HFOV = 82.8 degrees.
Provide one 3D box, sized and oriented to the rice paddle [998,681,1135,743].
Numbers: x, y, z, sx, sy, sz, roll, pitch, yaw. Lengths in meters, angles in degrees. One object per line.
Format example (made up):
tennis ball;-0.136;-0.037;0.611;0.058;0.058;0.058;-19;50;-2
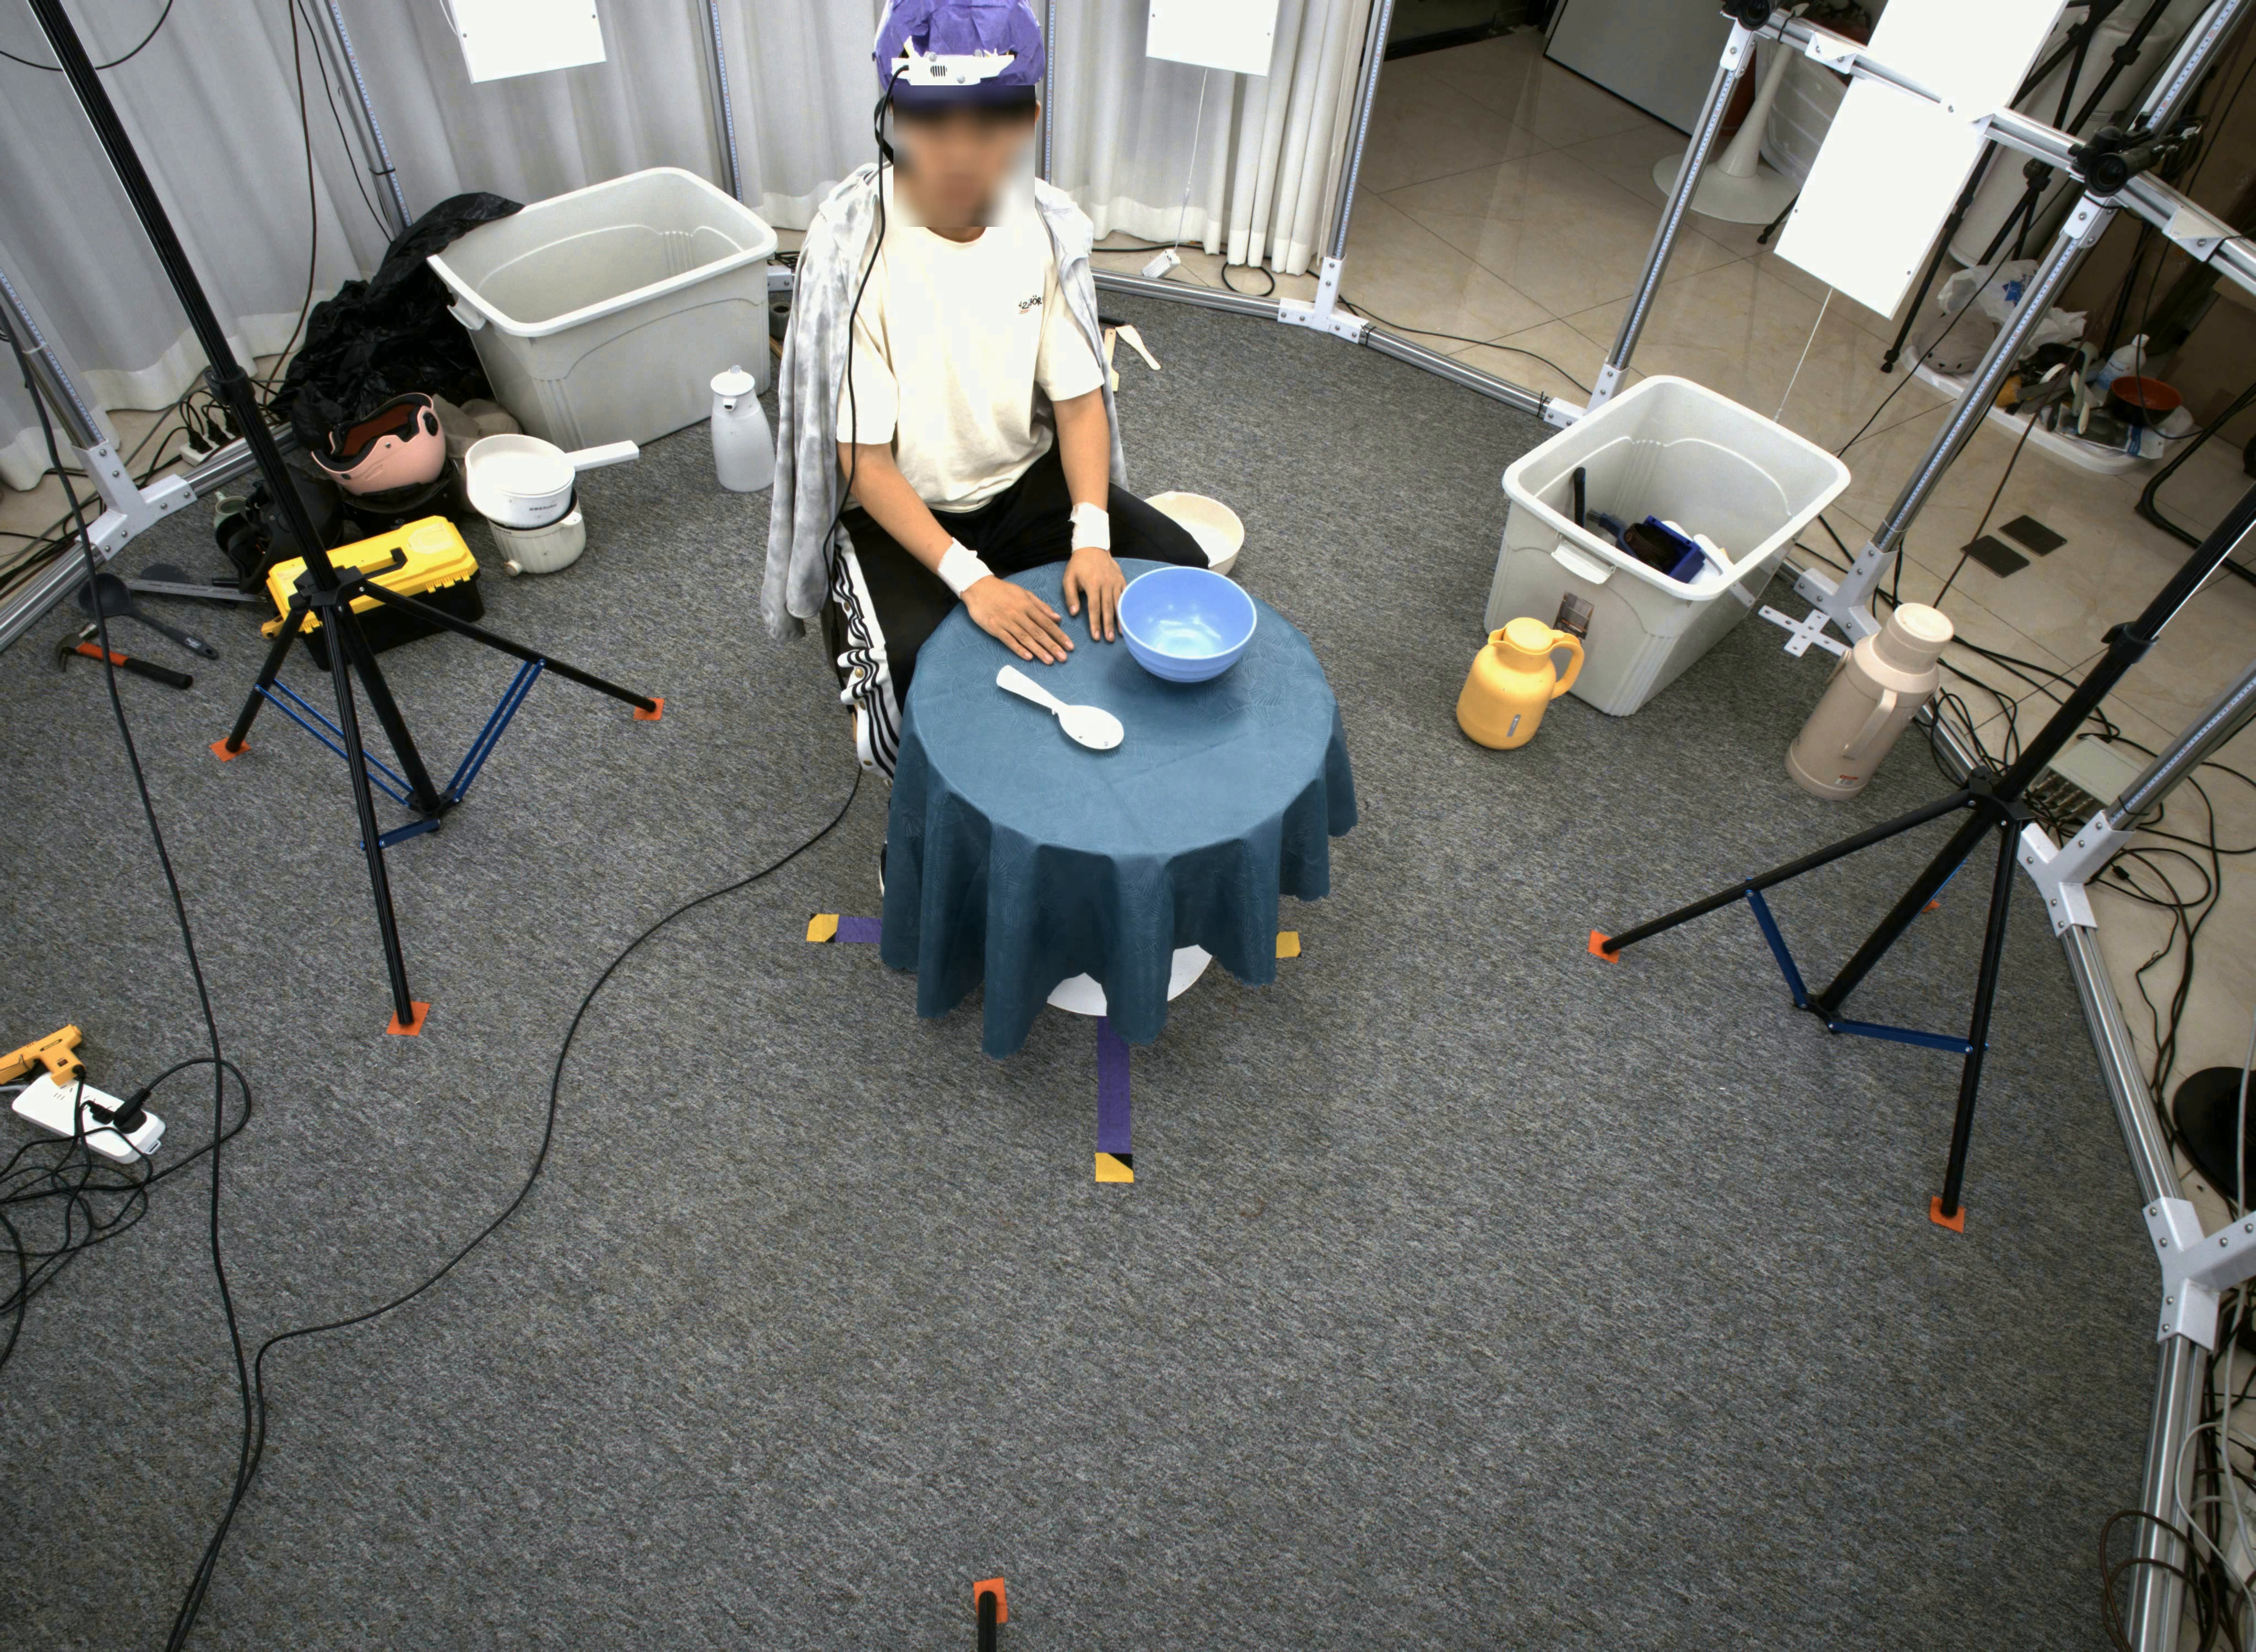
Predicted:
rice paddle;-0.084;-0.157;1.778;0.207;0.029;0.070;21;38;18

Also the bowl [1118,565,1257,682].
bowl;0.081;-0.275;1.843;0.196;0.093;0.201;2;50;-2
